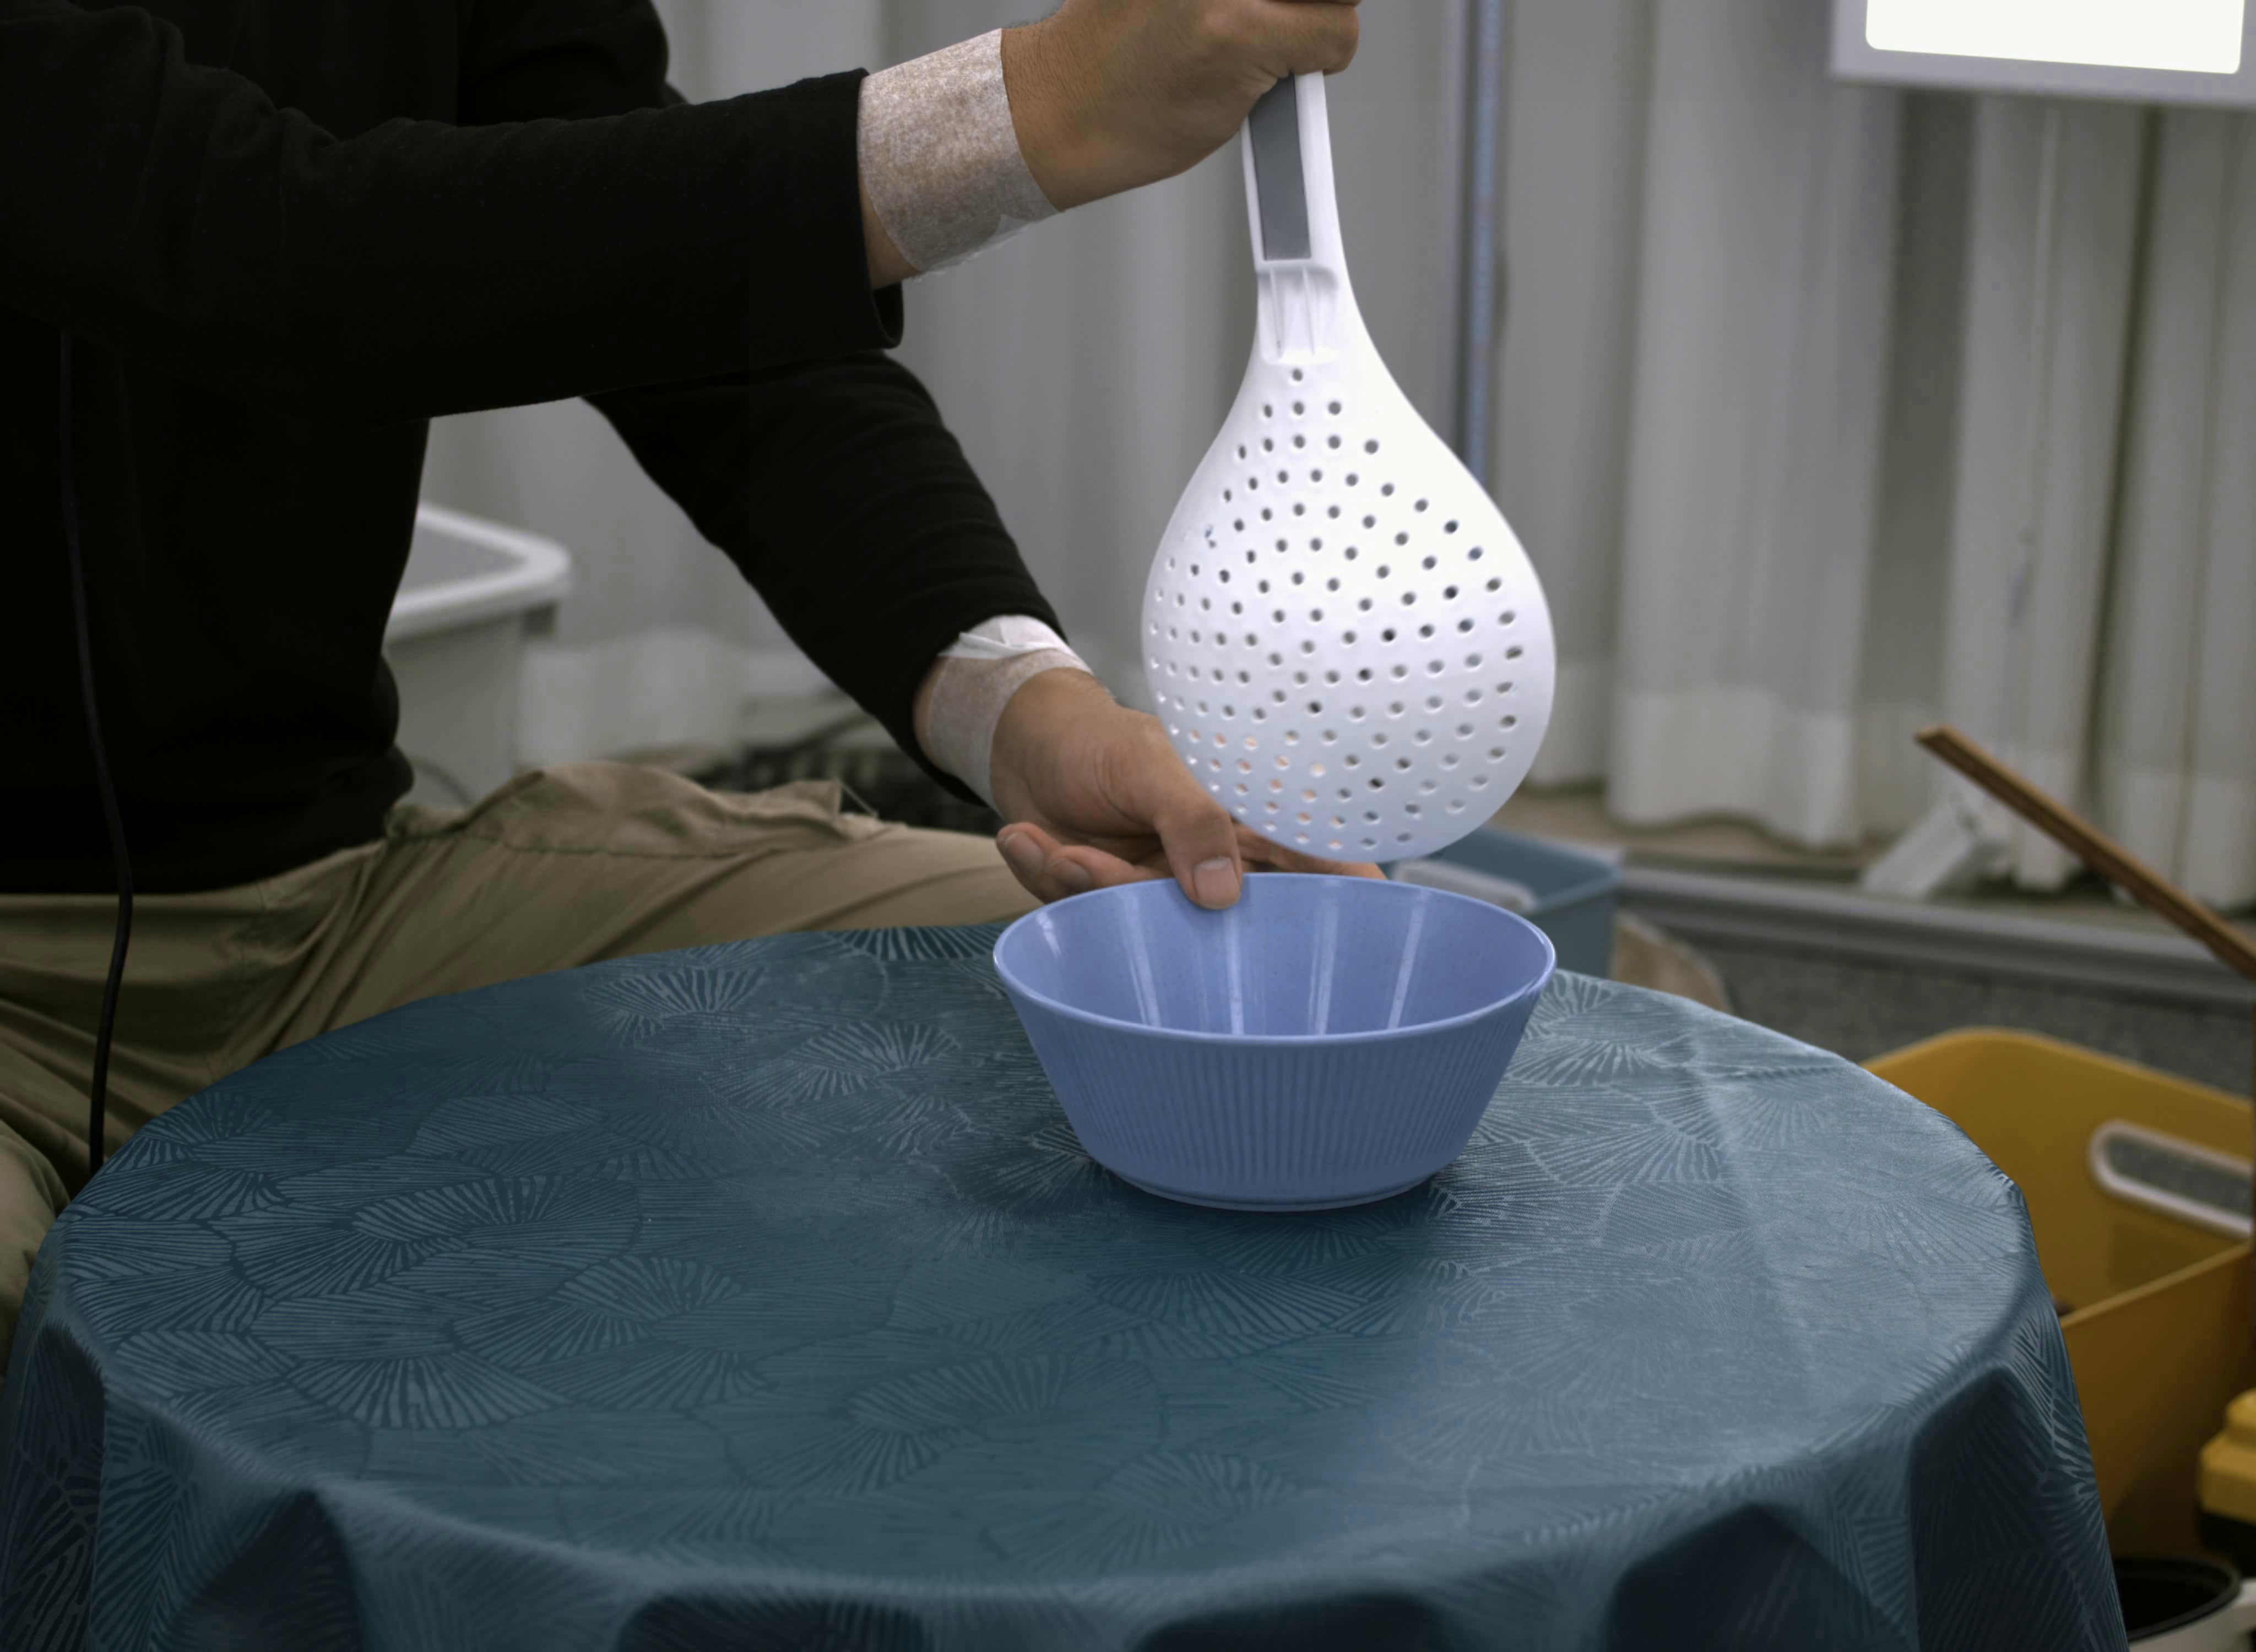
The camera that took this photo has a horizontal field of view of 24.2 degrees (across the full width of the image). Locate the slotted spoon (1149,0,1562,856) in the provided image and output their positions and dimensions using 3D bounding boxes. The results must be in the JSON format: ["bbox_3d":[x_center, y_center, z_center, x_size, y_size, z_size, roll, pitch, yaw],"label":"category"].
[{"bbox_3d":[0.054,-0.159,1.597,0.135,0.352,0.046,-1,11,22],"label":"slotted spoon"}]

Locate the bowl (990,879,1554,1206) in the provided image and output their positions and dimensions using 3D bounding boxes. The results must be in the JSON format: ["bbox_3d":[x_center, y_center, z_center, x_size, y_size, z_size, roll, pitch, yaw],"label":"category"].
[{"bbox_3d":[0.045,0.070,1.645,0.175,0.071,0.175,0,15,1],"label":"bowl"}]
